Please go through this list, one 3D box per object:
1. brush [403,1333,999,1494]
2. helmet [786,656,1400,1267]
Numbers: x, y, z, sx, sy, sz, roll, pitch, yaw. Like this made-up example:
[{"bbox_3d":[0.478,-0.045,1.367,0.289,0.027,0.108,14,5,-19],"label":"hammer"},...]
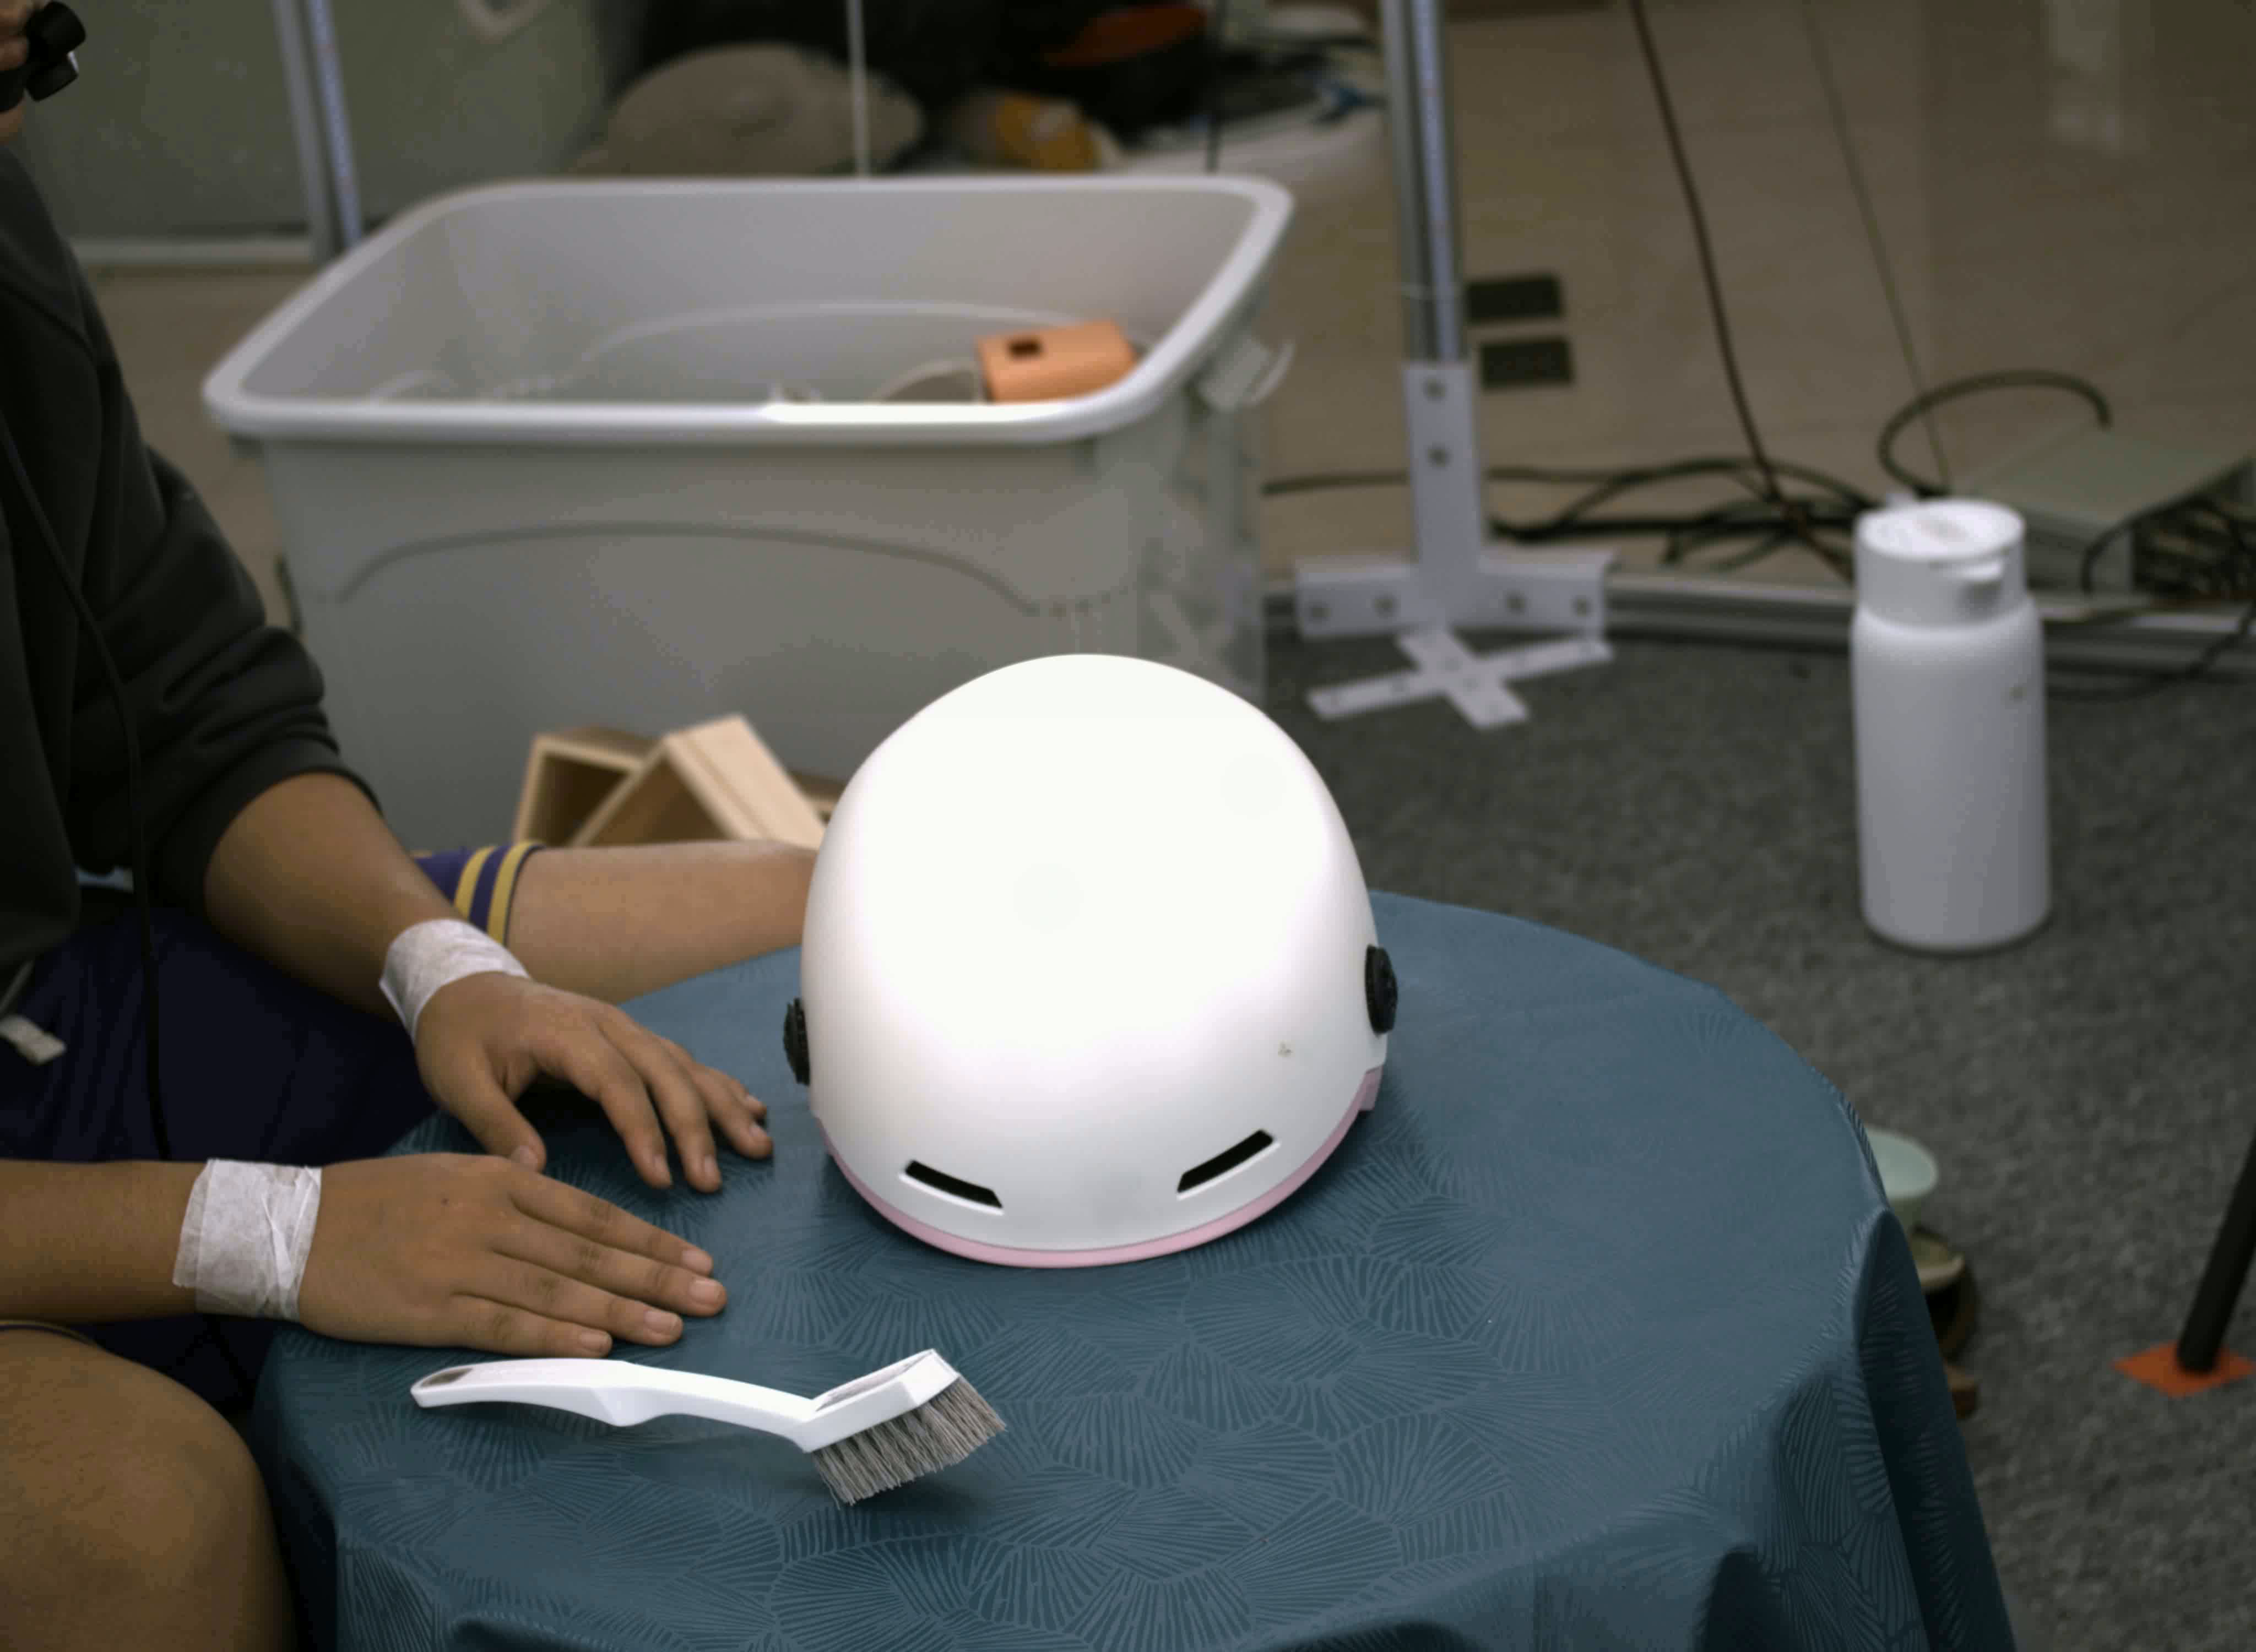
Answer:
[{"bbox_3d":[-0.153,0.212,2.000,0.243,0.051,0.034,-7,18,32],"label":"brush"},{"bbox_3d":[-0.016,0.034,2.180,0.237,0.170,0.264,-4,26,5],"label":"helmet"}]
